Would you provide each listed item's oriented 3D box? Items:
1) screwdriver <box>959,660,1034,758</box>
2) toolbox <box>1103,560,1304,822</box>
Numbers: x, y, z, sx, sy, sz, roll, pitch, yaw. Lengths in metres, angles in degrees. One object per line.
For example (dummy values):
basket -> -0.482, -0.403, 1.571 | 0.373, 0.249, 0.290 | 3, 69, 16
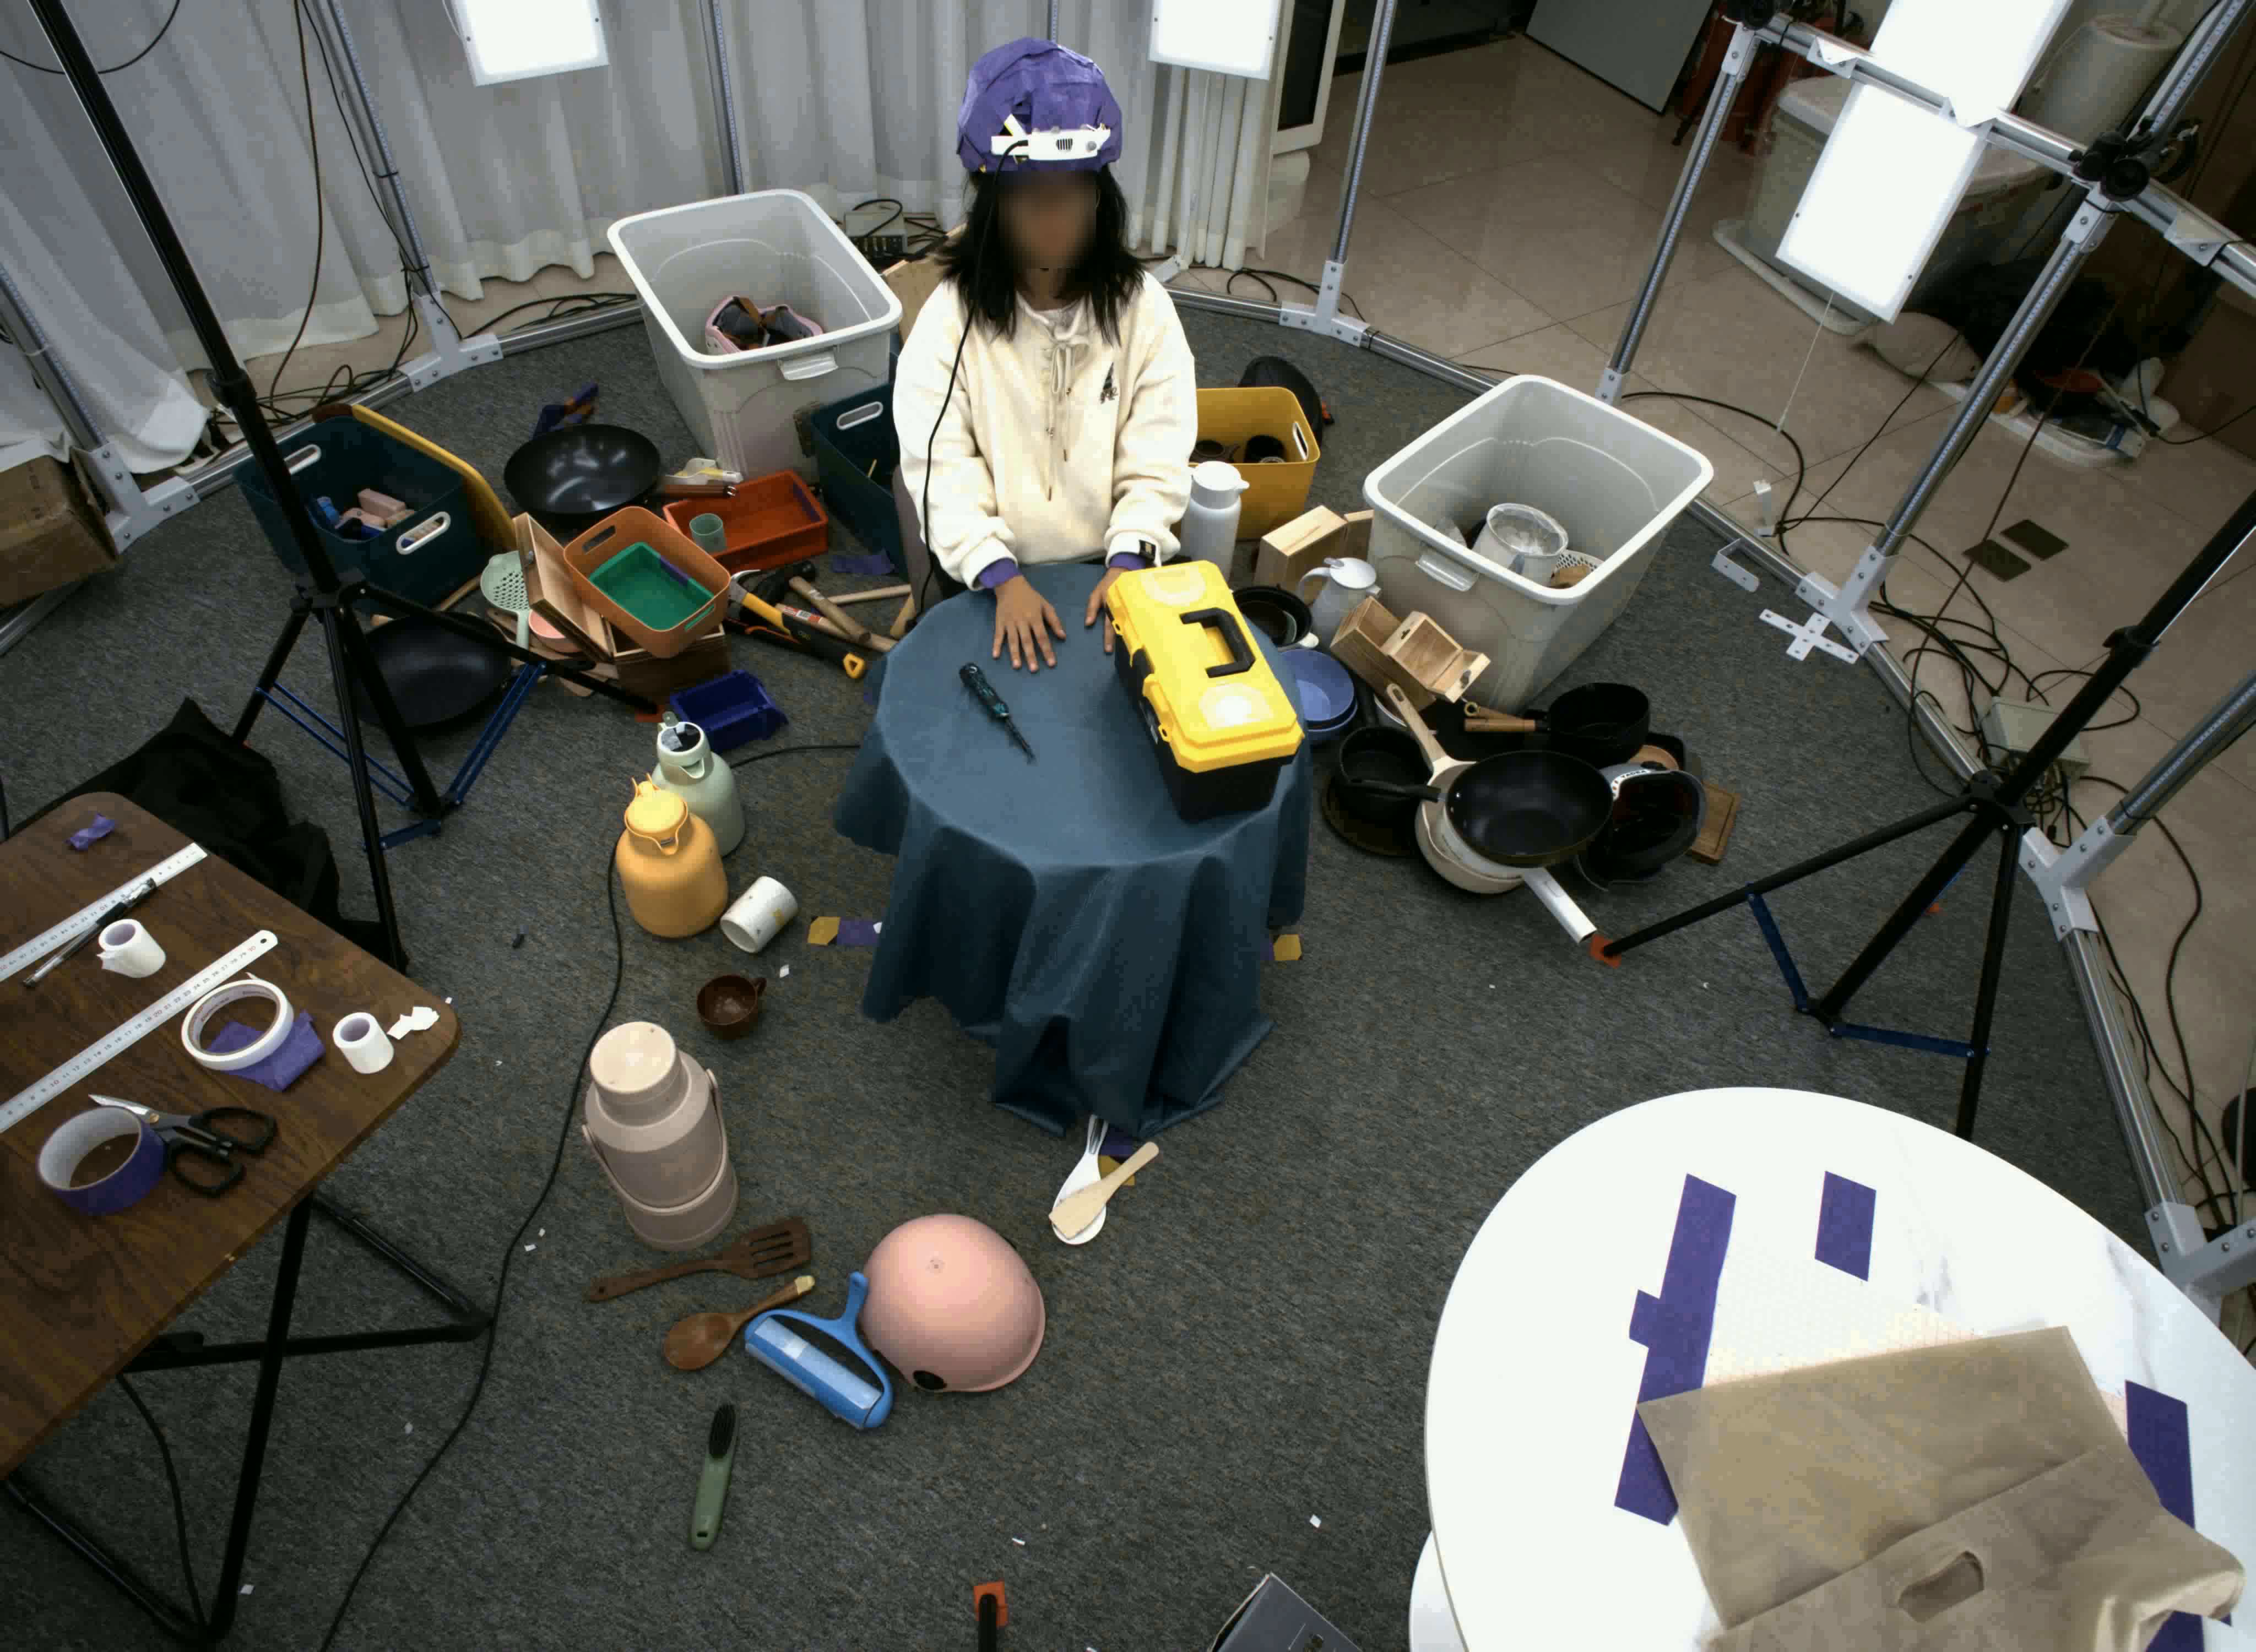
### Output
screwdriver -> -0.181, -0.161, 1.783 | 0.034, 0.033, 0.193 | -24, 59, -23
toolbox -> 0.092, -0.184, 1.724 | 0.181, 0.168, 0.360 | -10, 51, -13
